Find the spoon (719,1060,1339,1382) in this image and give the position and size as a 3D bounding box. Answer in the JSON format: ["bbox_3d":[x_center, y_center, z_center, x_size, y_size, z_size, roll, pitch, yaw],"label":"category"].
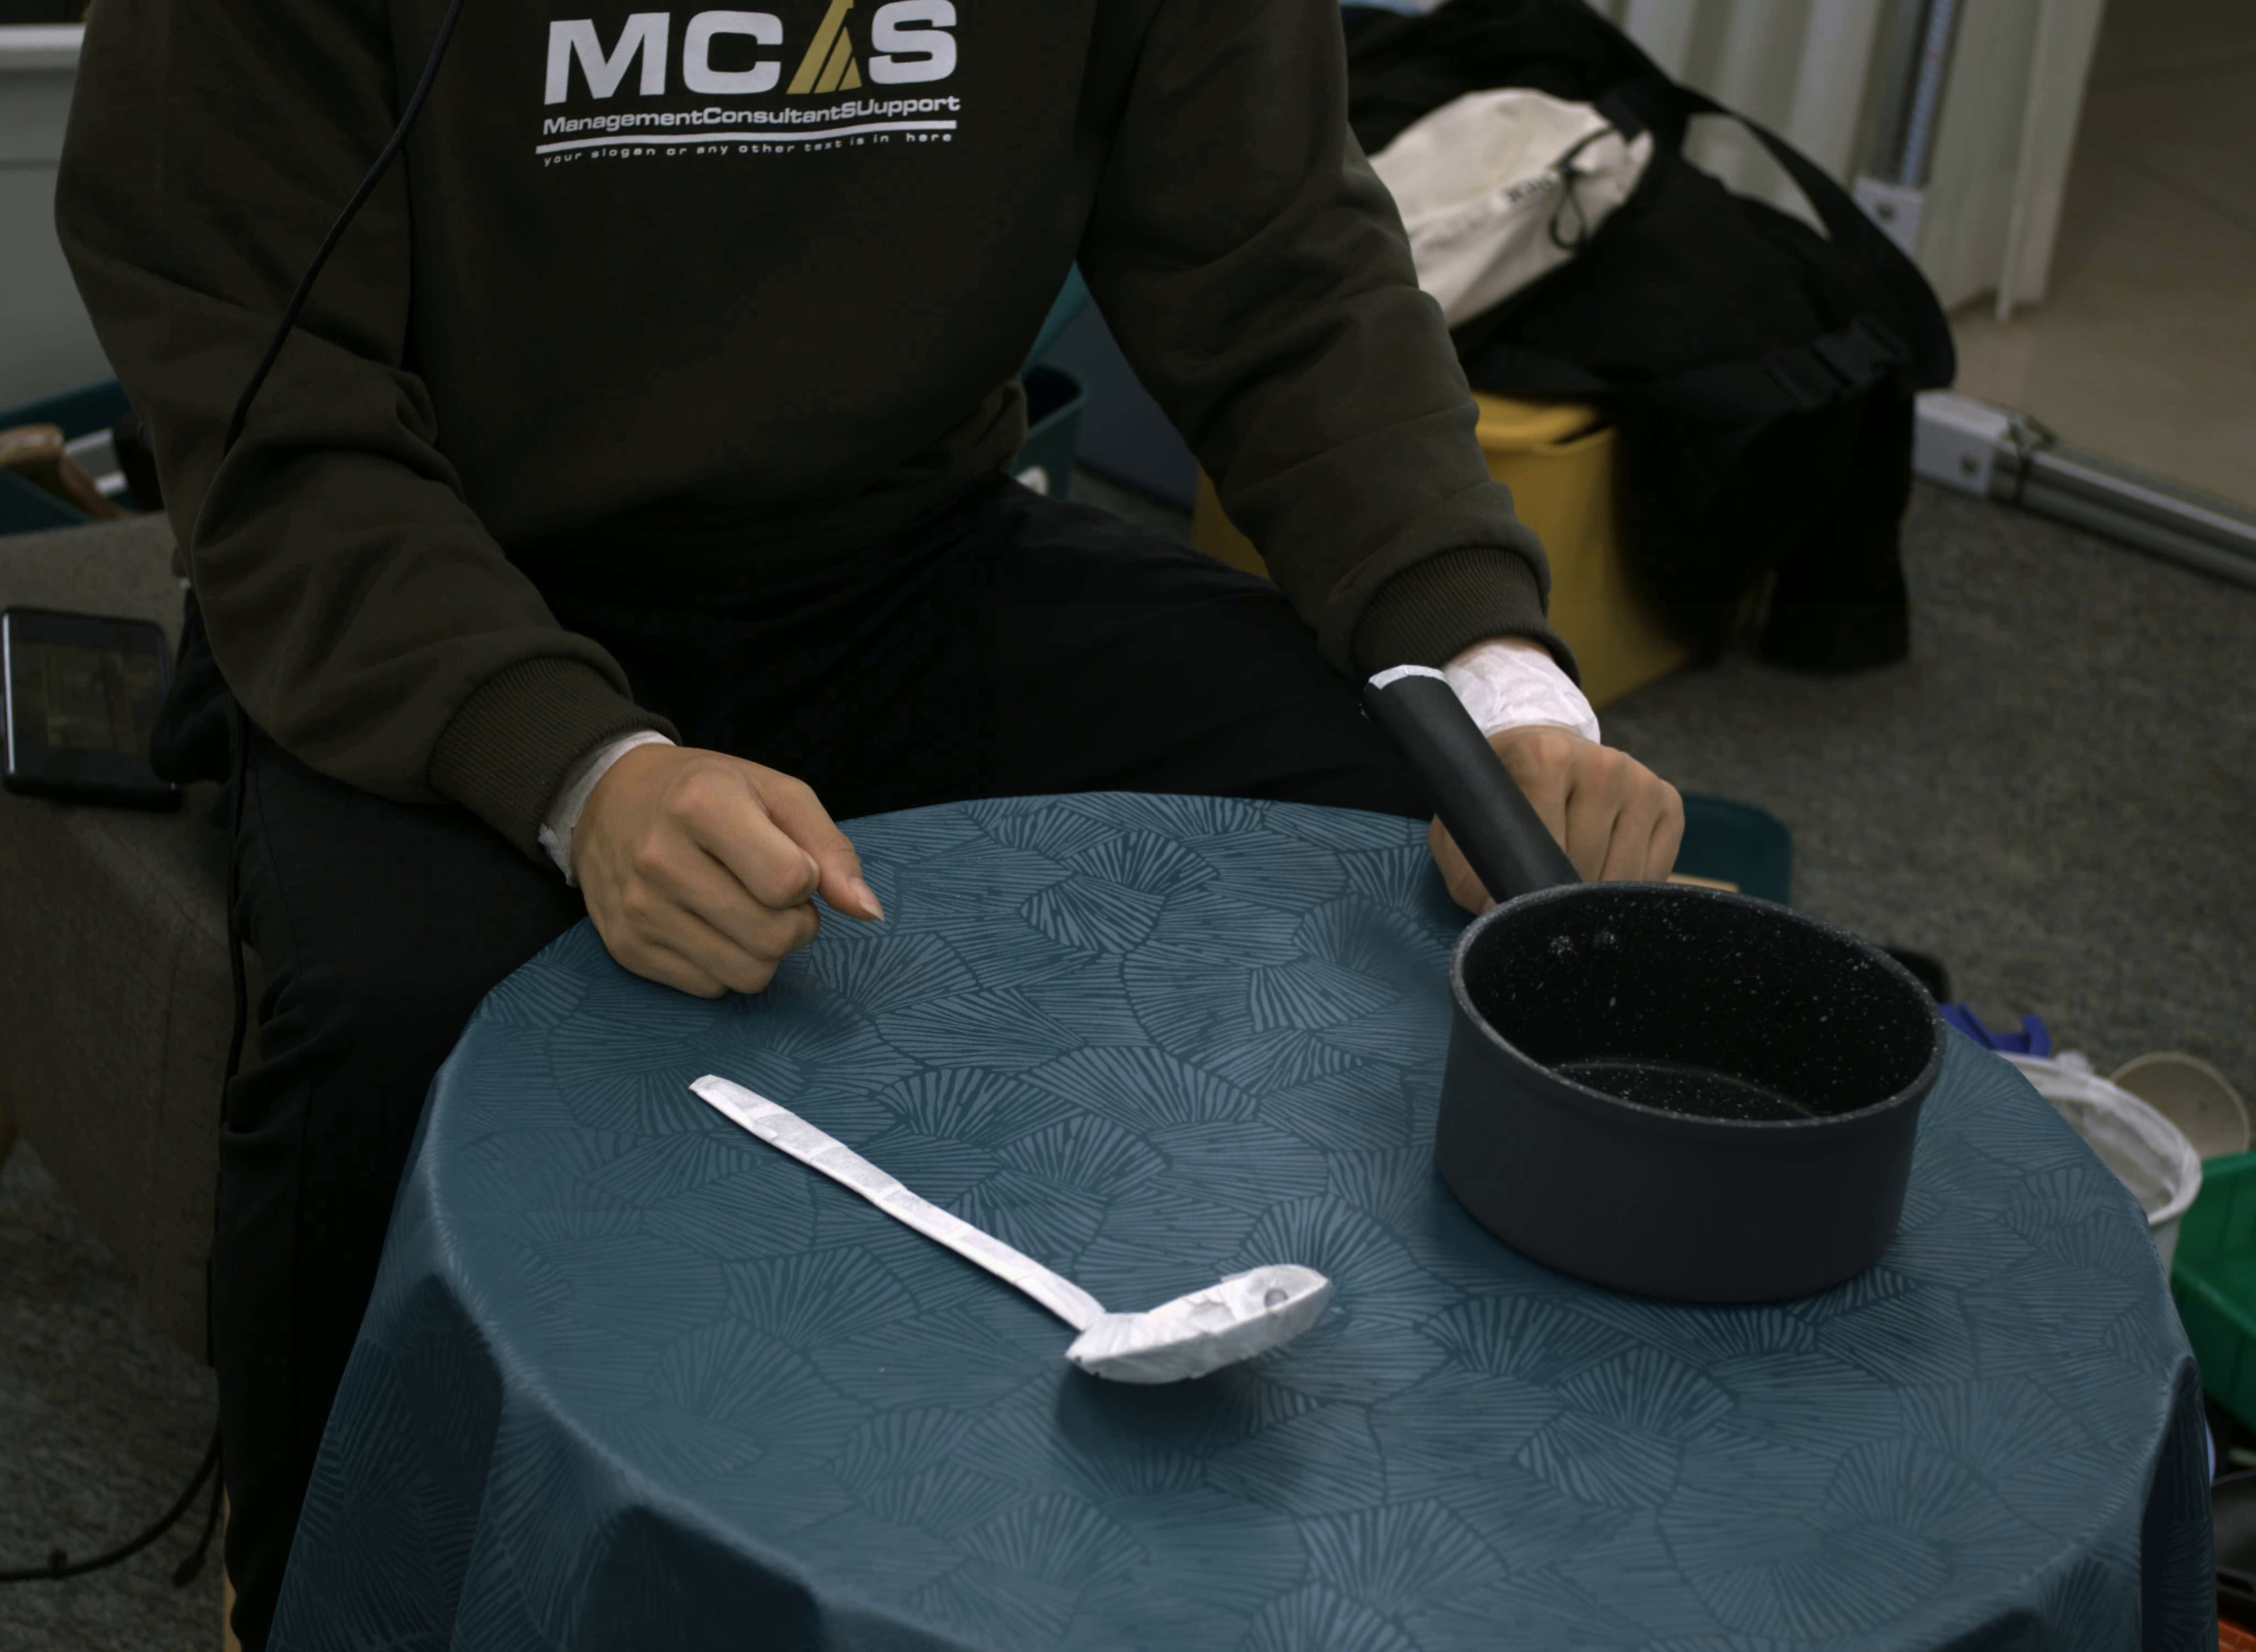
[{"bbox_3d":[-0.041,0.115,1.754,0.100,0.059,0.279,-15,33,-40],"label":"spoon"}]

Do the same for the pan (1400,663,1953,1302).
[{"bbox_3d":[0.165,0.052,1.892,0.171,0.086,0.332,-3,29,-20],"label":"pan"}]
